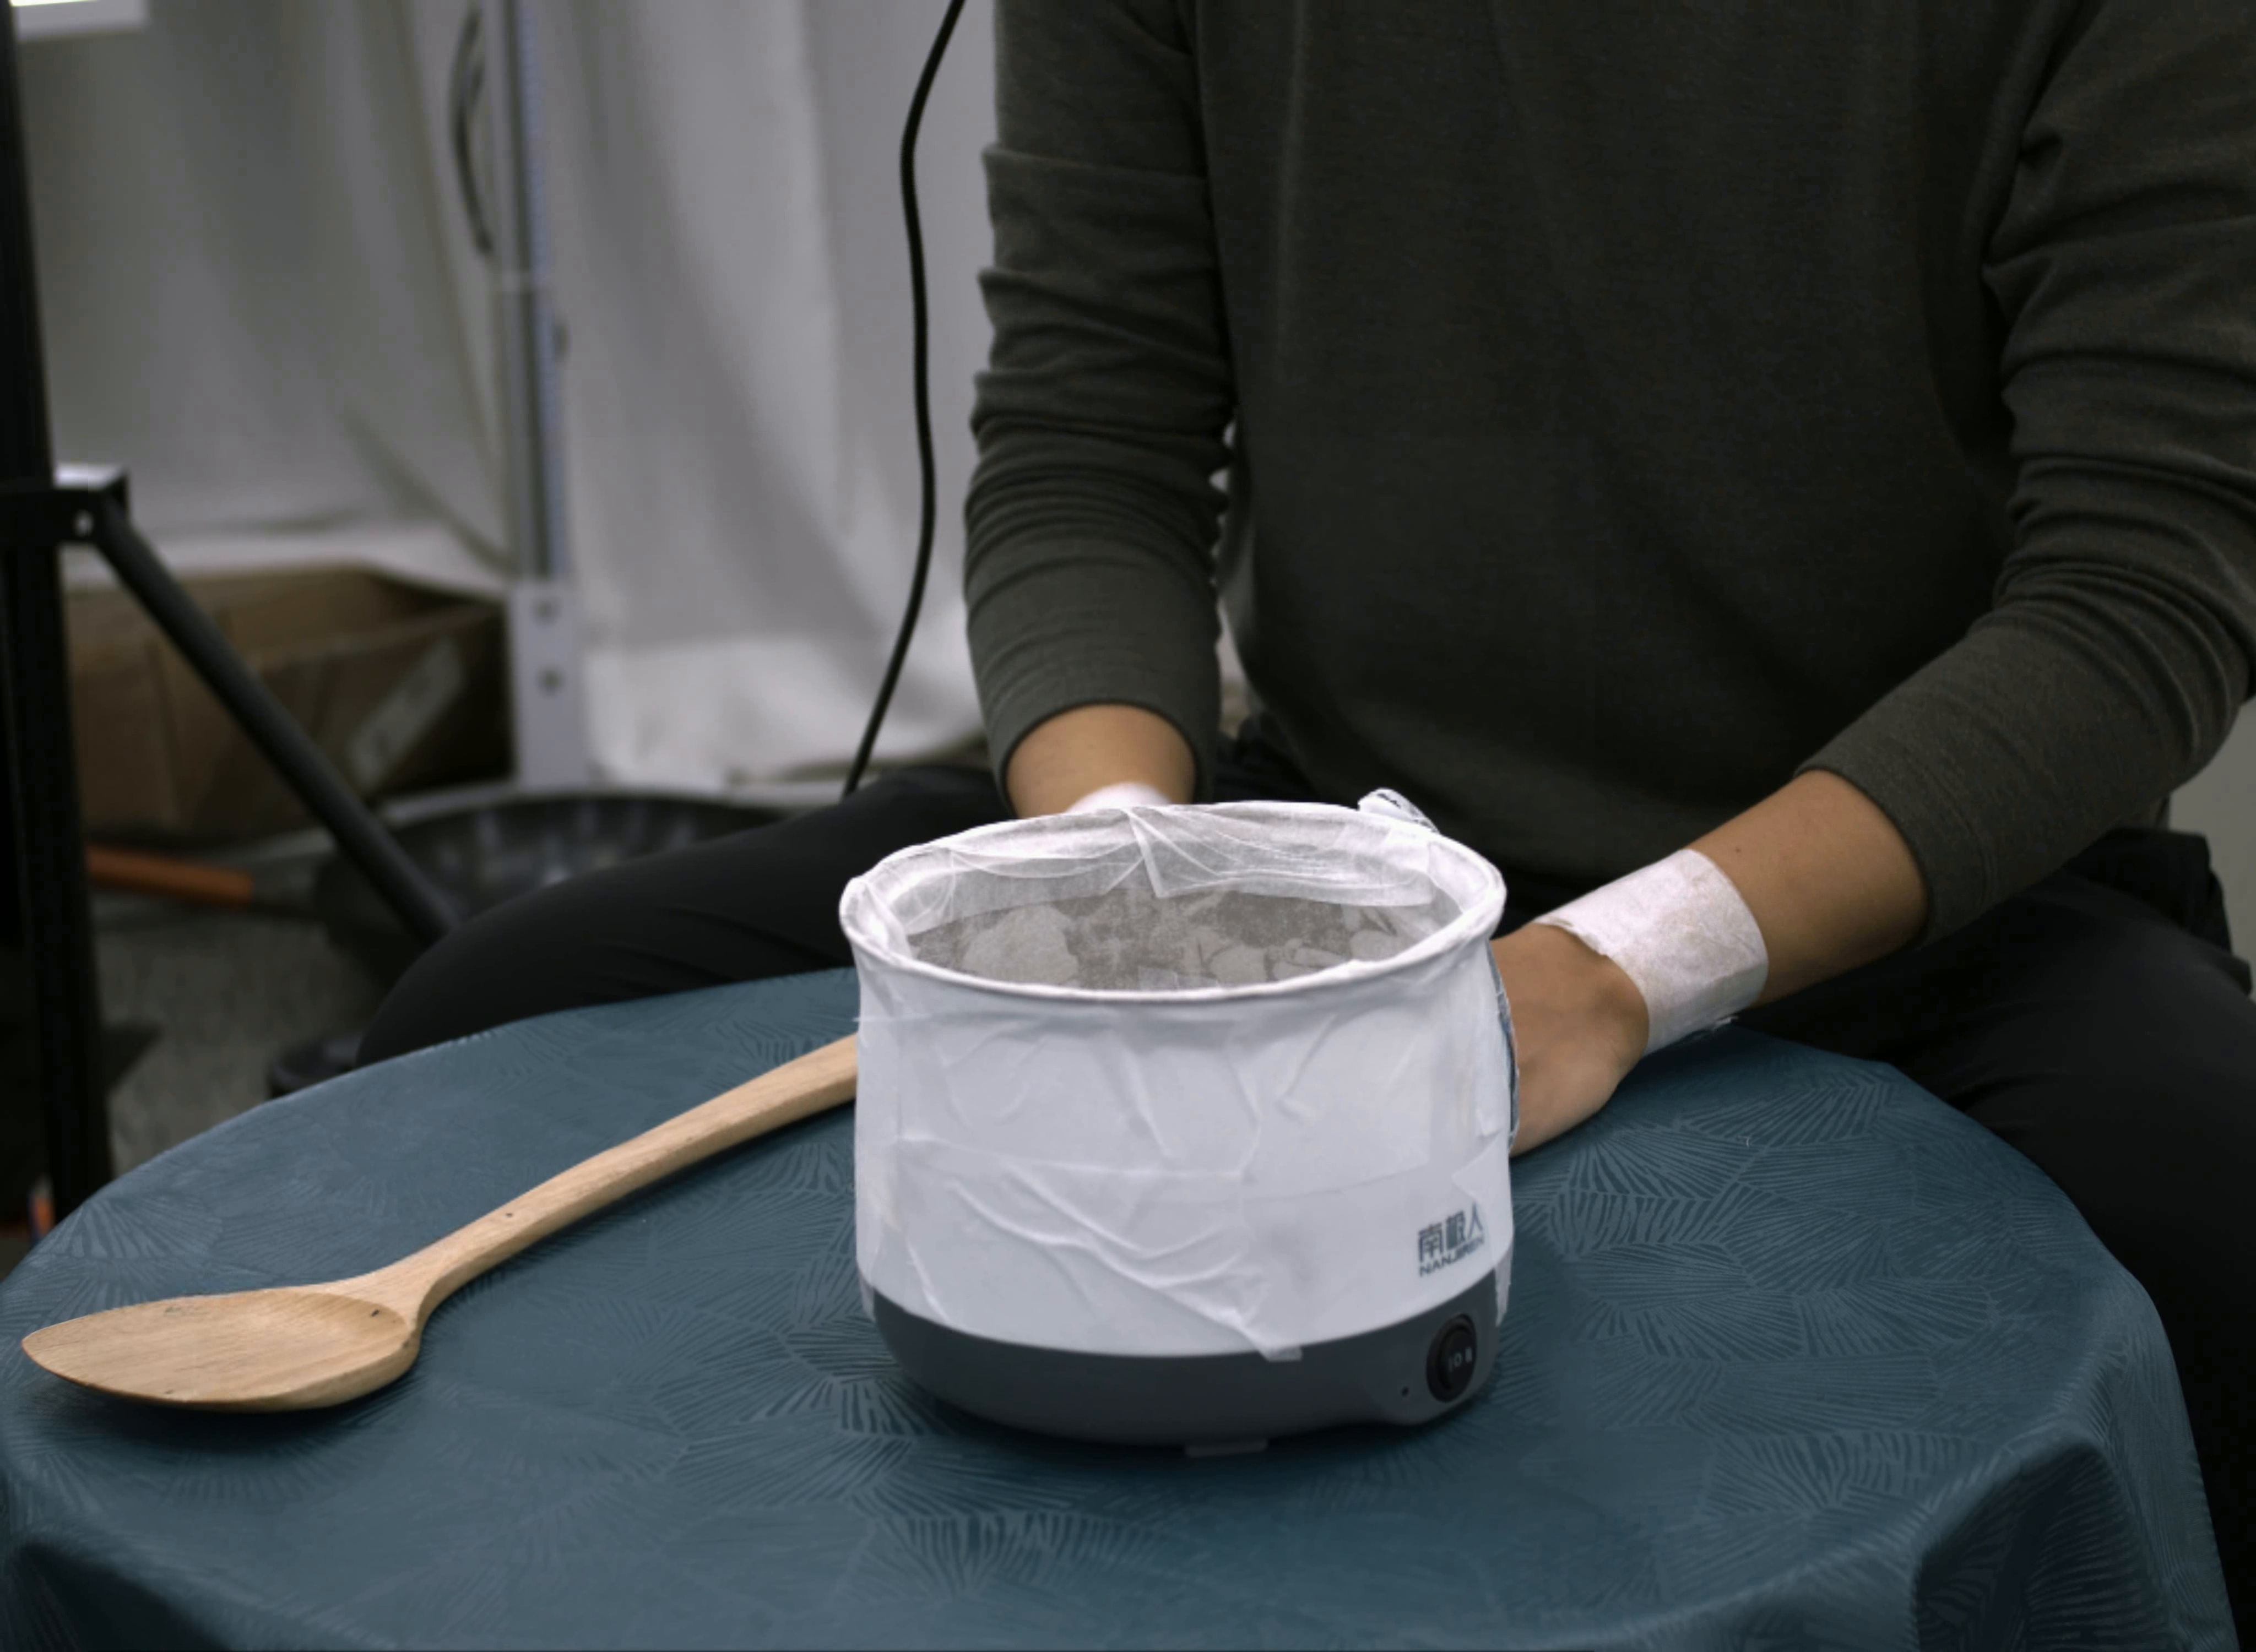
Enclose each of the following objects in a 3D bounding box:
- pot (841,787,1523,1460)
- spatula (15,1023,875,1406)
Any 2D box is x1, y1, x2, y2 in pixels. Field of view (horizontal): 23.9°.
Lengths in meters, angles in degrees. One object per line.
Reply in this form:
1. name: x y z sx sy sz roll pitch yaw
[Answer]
1. pot: 0.031 0.072 1.433 0.182 0.136 0.229 10 20 36
2. spatula: -0.164 0.106 1.564 0.097 0.018 0.383 10 20 32
